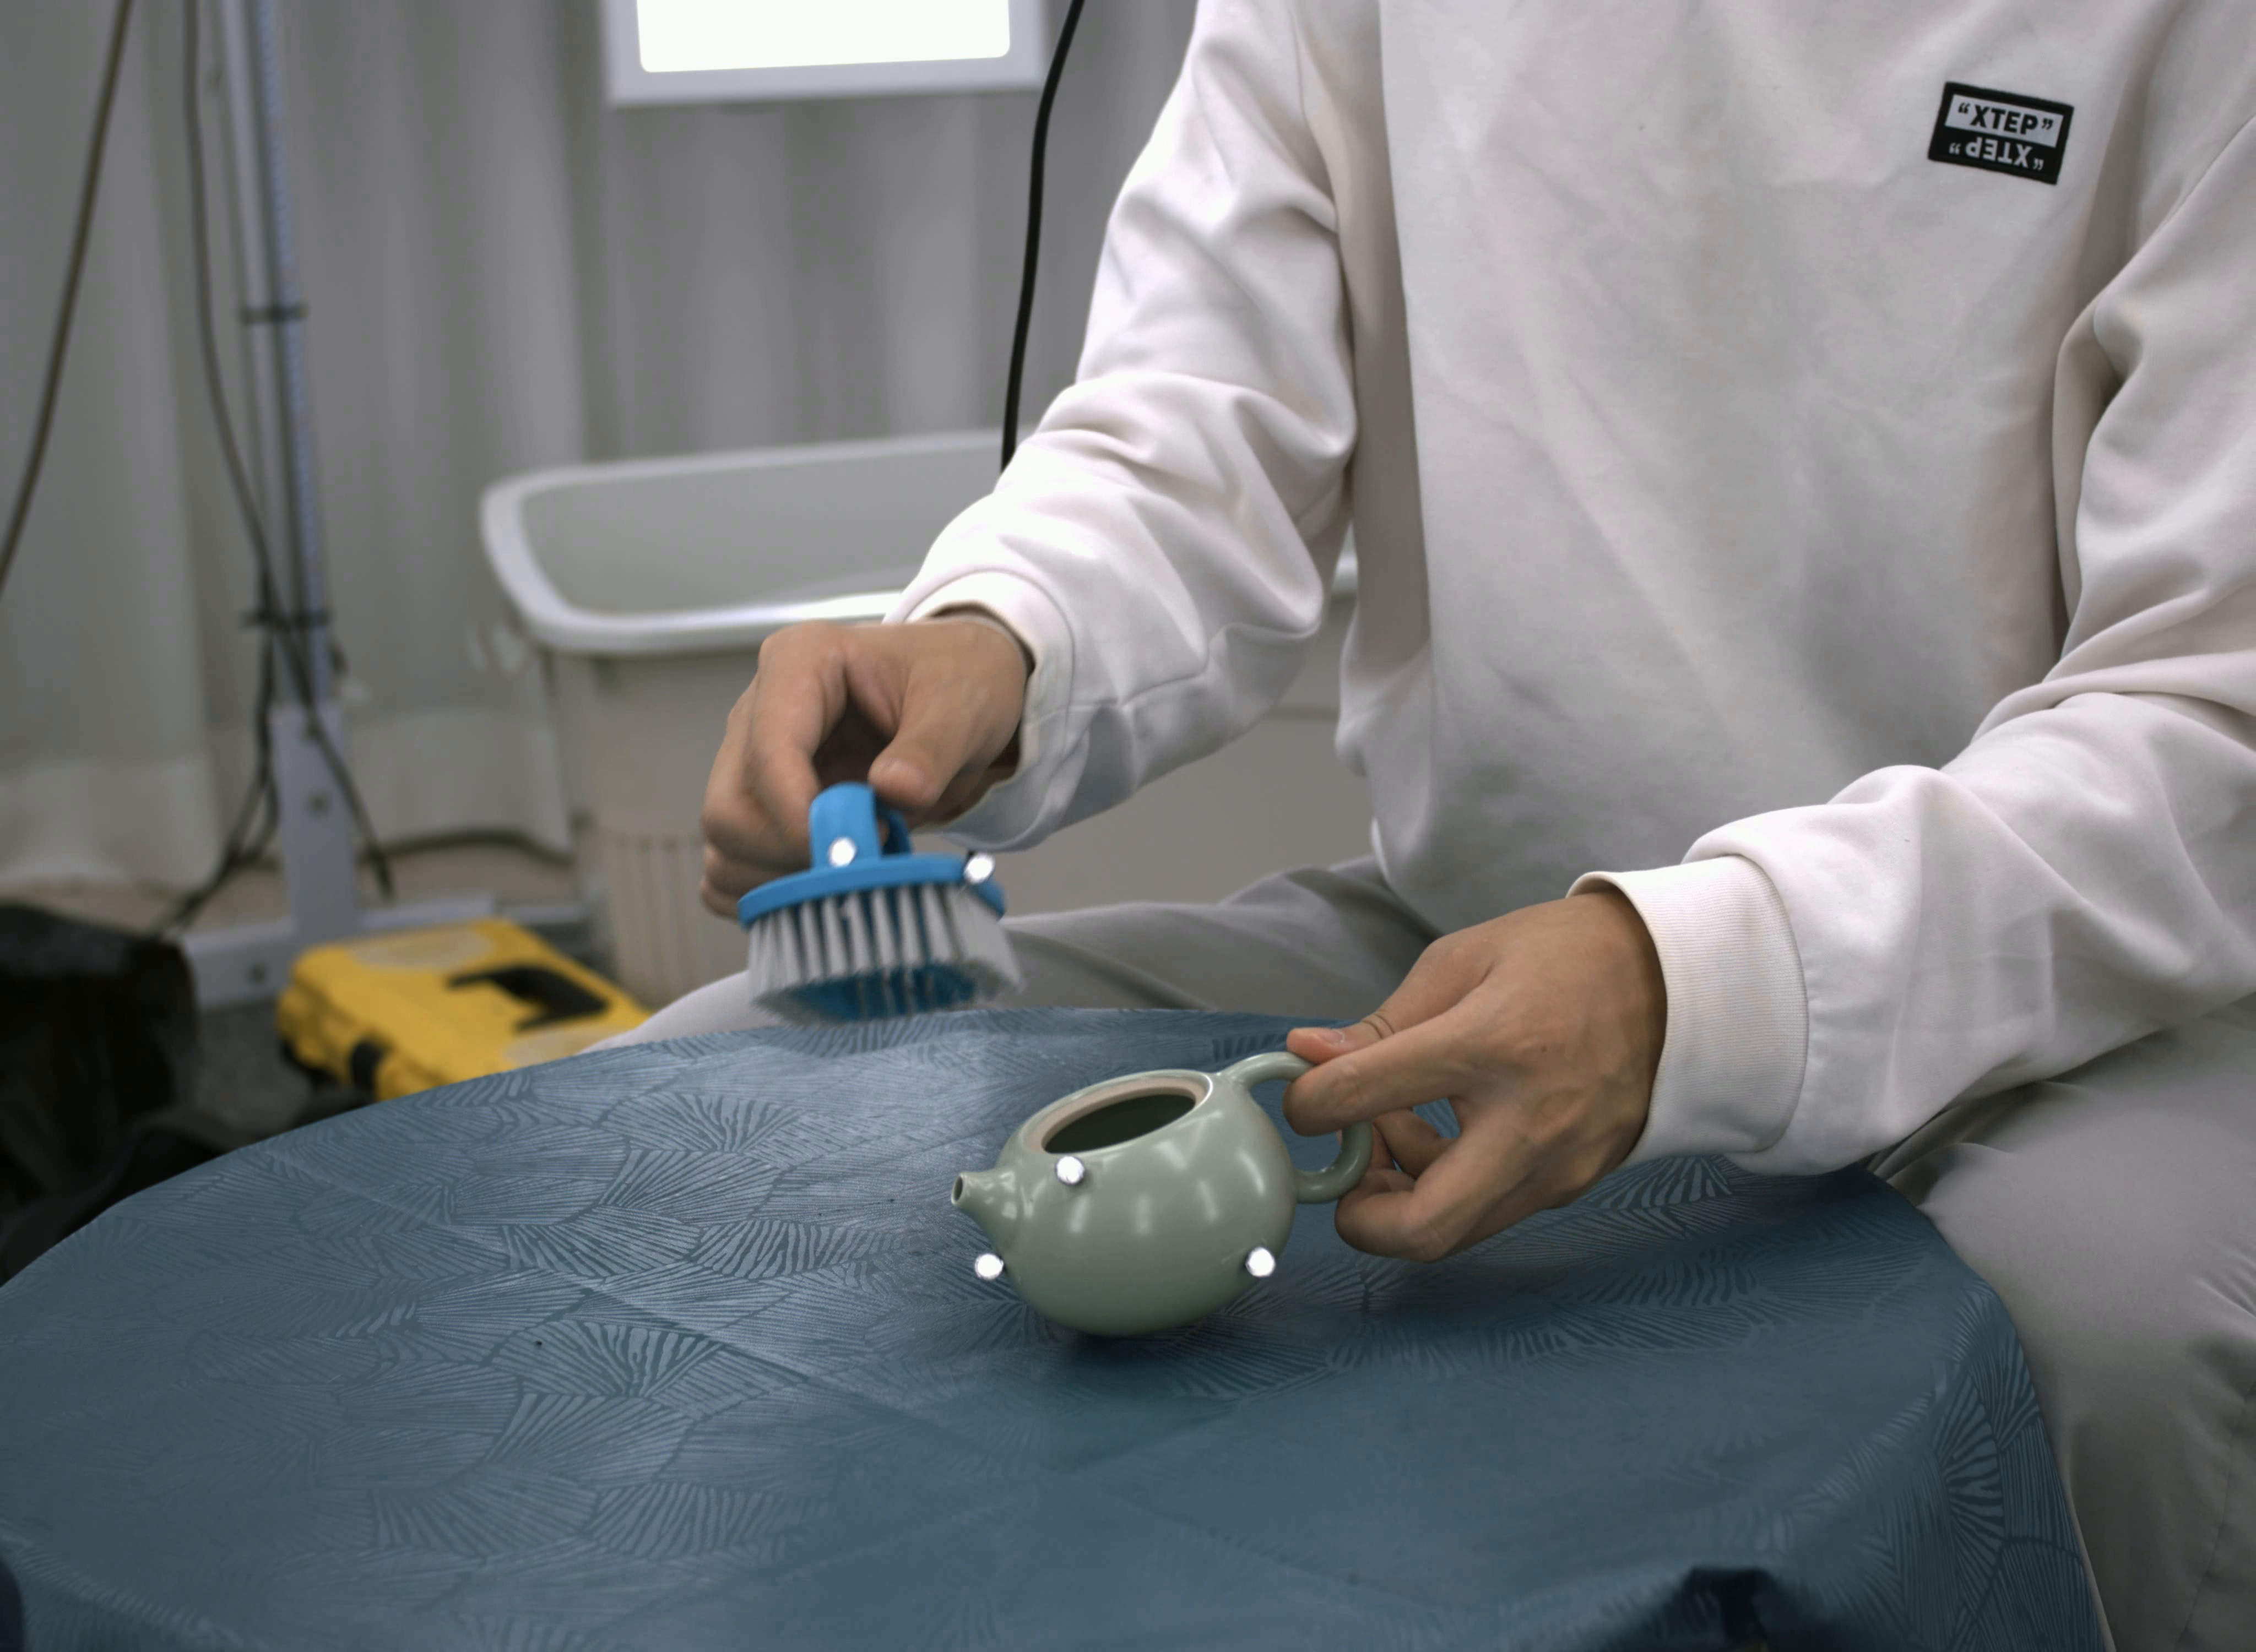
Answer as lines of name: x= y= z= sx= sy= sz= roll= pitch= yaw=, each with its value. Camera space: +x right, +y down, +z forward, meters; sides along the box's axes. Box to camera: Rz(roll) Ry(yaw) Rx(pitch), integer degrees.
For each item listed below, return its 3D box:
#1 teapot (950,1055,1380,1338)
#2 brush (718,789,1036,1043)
teapot: x=0.014 y=0.108 z=1.595 sx=0.128 sy=0.061 sz=0.092 roll=-19 pitch=13 yaw=-12
brush: x=-0.080 y=0.024 z=1.681 sx=0.084 sy=0.064 sz=0.141 roll=-15 pitch=-10 yaw=6
